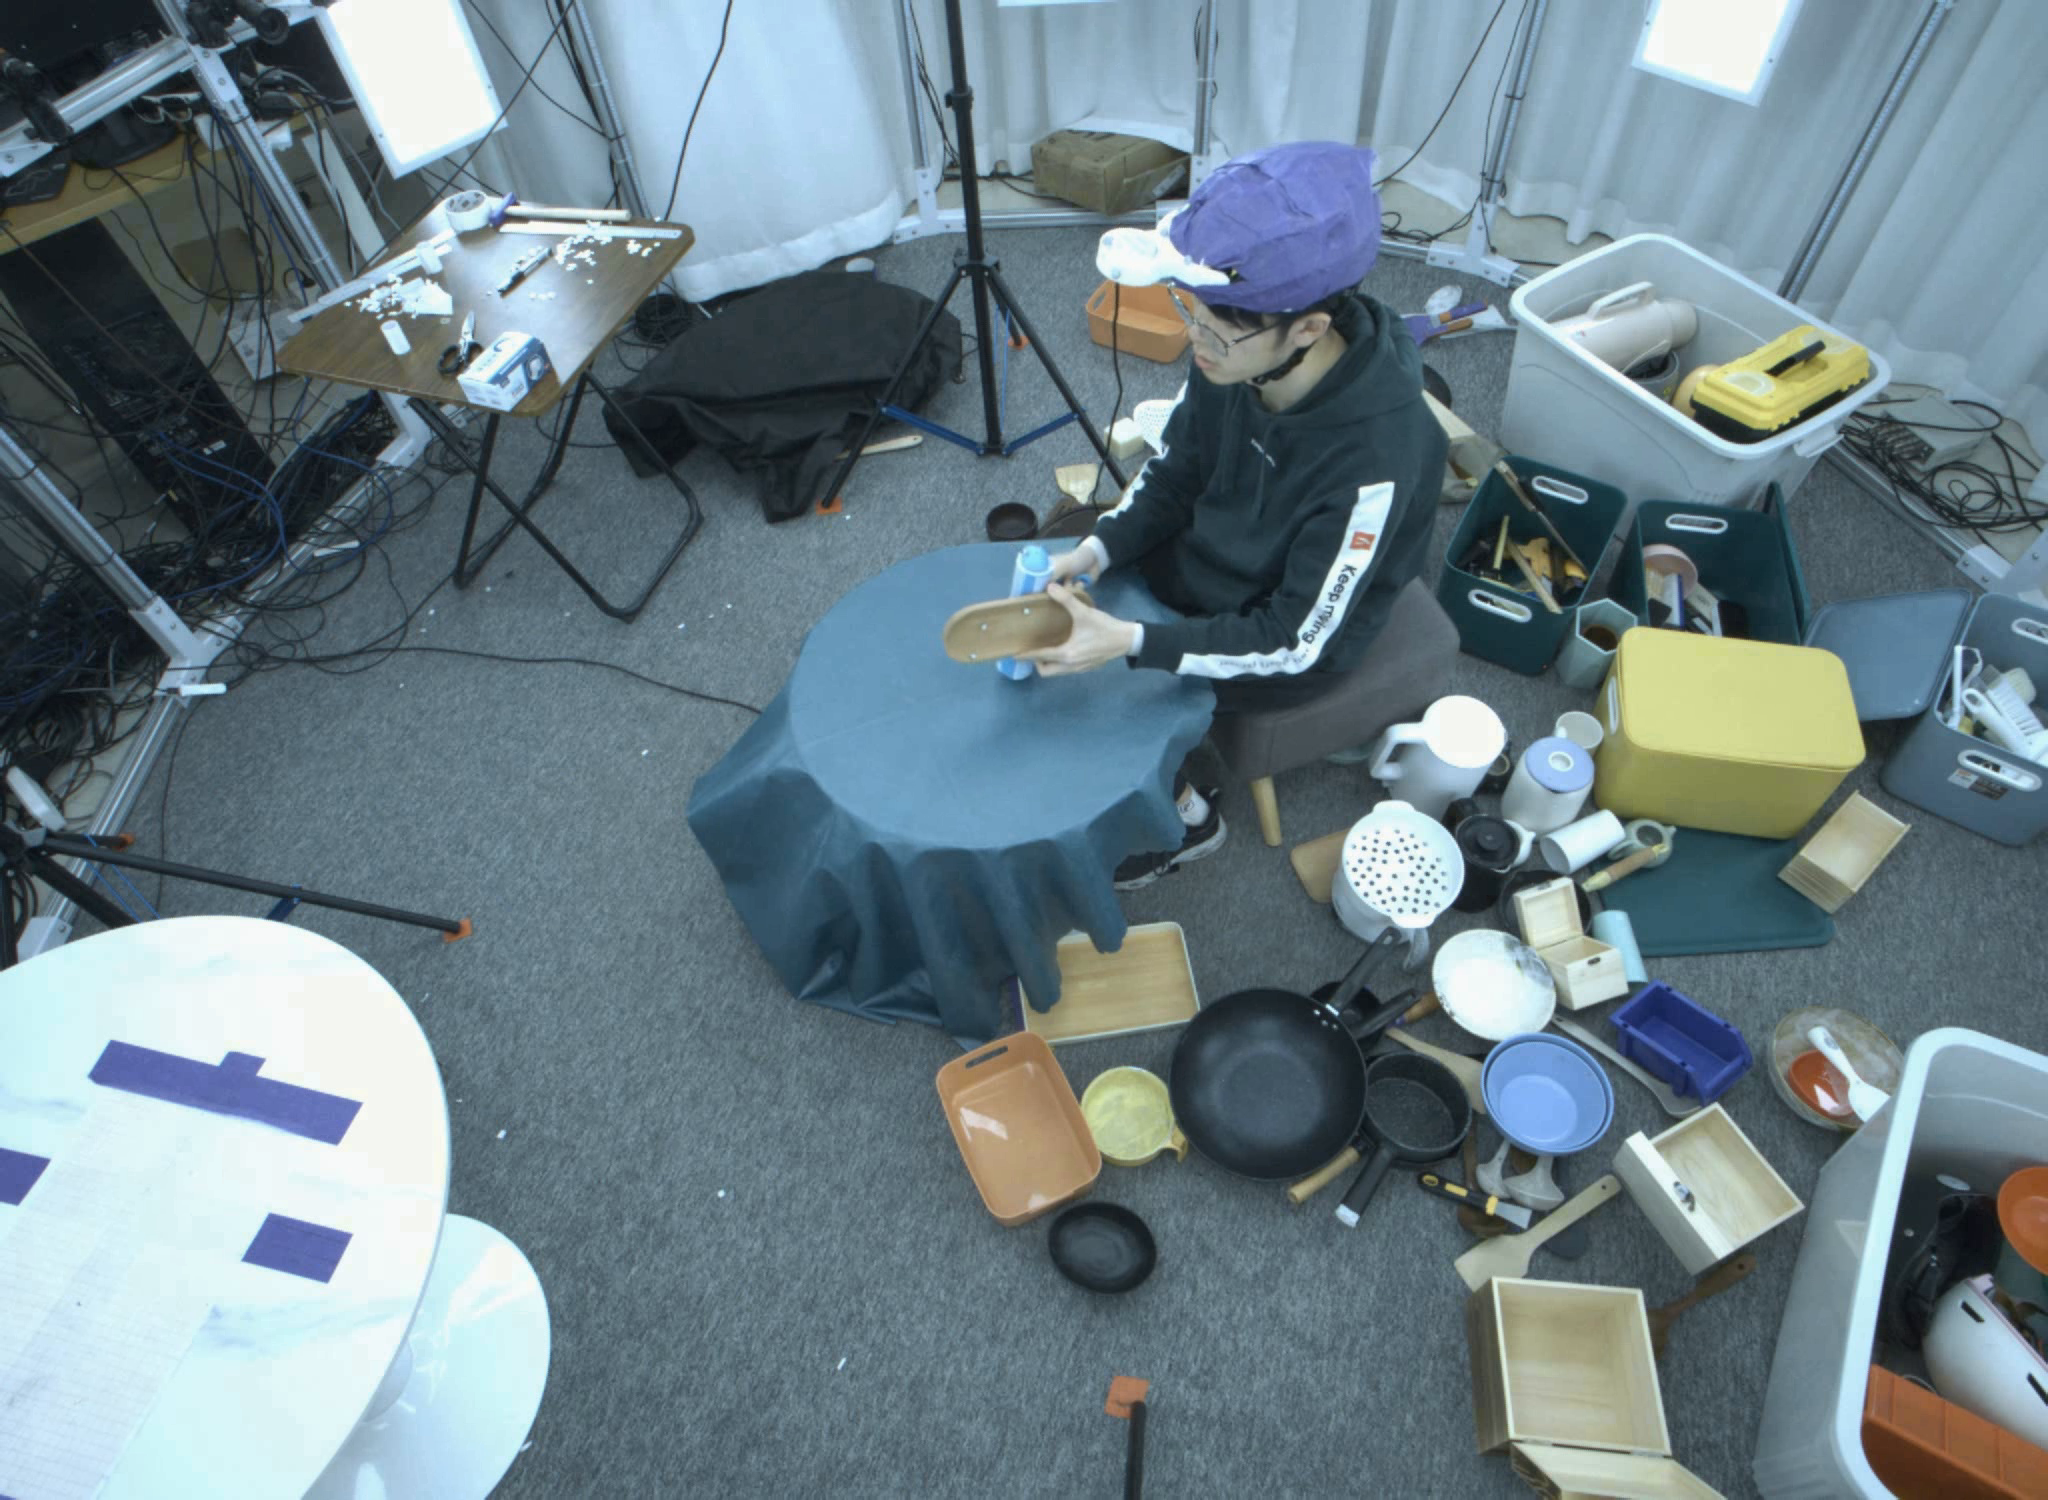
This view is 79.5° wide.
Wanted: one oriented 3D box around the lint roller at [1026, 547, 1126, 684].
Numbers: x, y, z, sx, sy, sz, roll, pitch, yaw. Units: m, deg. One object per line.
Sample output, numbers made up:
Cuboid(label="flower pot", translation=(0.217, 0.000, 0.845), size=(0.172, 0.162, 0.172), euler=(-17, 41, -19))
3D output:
Cuboid(label="lint roller", translation=(0.077, -0.216, 1.816), size=(0.067, 0.230, 0.182), euler=(30, 44, 19))

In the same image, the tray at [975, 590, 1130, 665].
Cuboid(label="tray", translation=(0.041, -0.175, 1.735), size=(0.234, 0.102, 0.020), euler=(-13, 50, -18))
